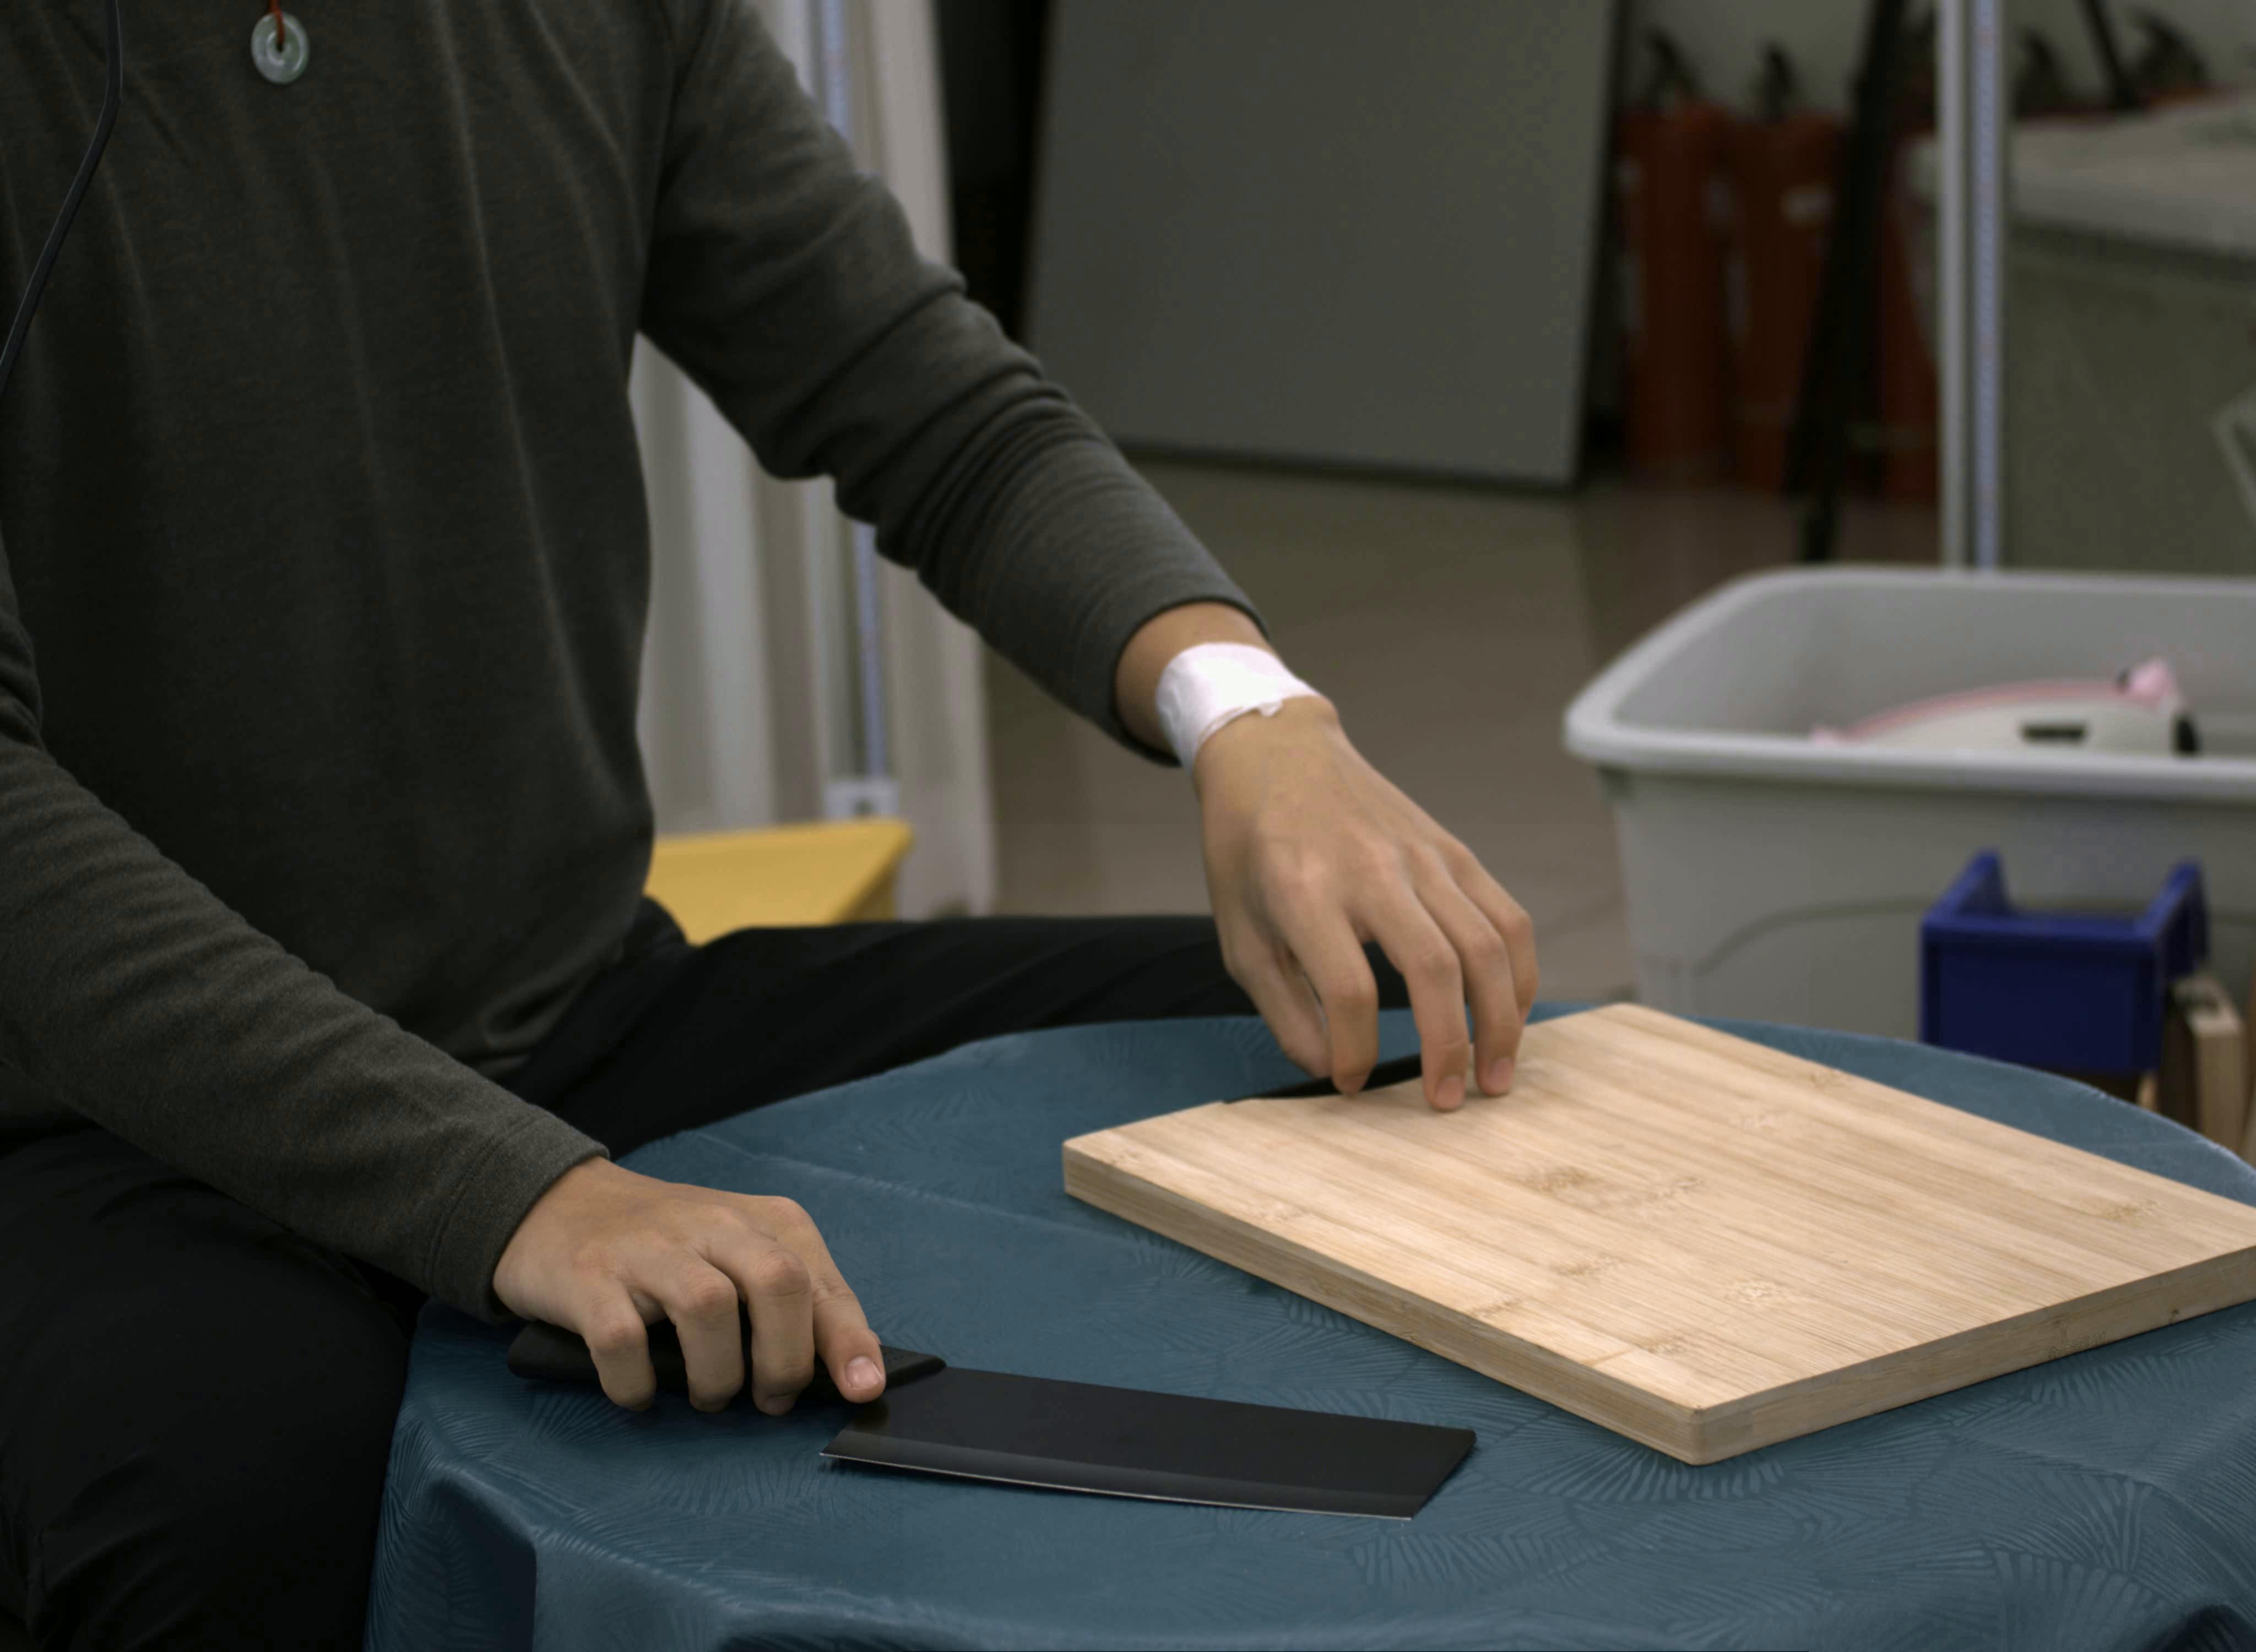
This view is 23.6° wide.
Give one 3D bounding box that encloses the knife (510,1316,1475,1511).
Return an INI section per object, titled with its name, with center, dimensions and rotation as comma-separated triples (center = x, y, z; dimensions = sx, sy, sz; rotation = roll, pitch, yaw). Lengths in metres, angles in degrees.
[knife]
center = -0.046, 0.170, 1.558
dimensions = 0.303, 0.021, 0.080
rotation = 5, 19, 28

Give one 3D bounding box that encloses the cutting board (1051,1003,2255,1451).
[cutting board]
center = 0.164, 0.120, 1.696
dimensions = 0.245, 0.024, 0.352
rotation = -12, 15, -31
